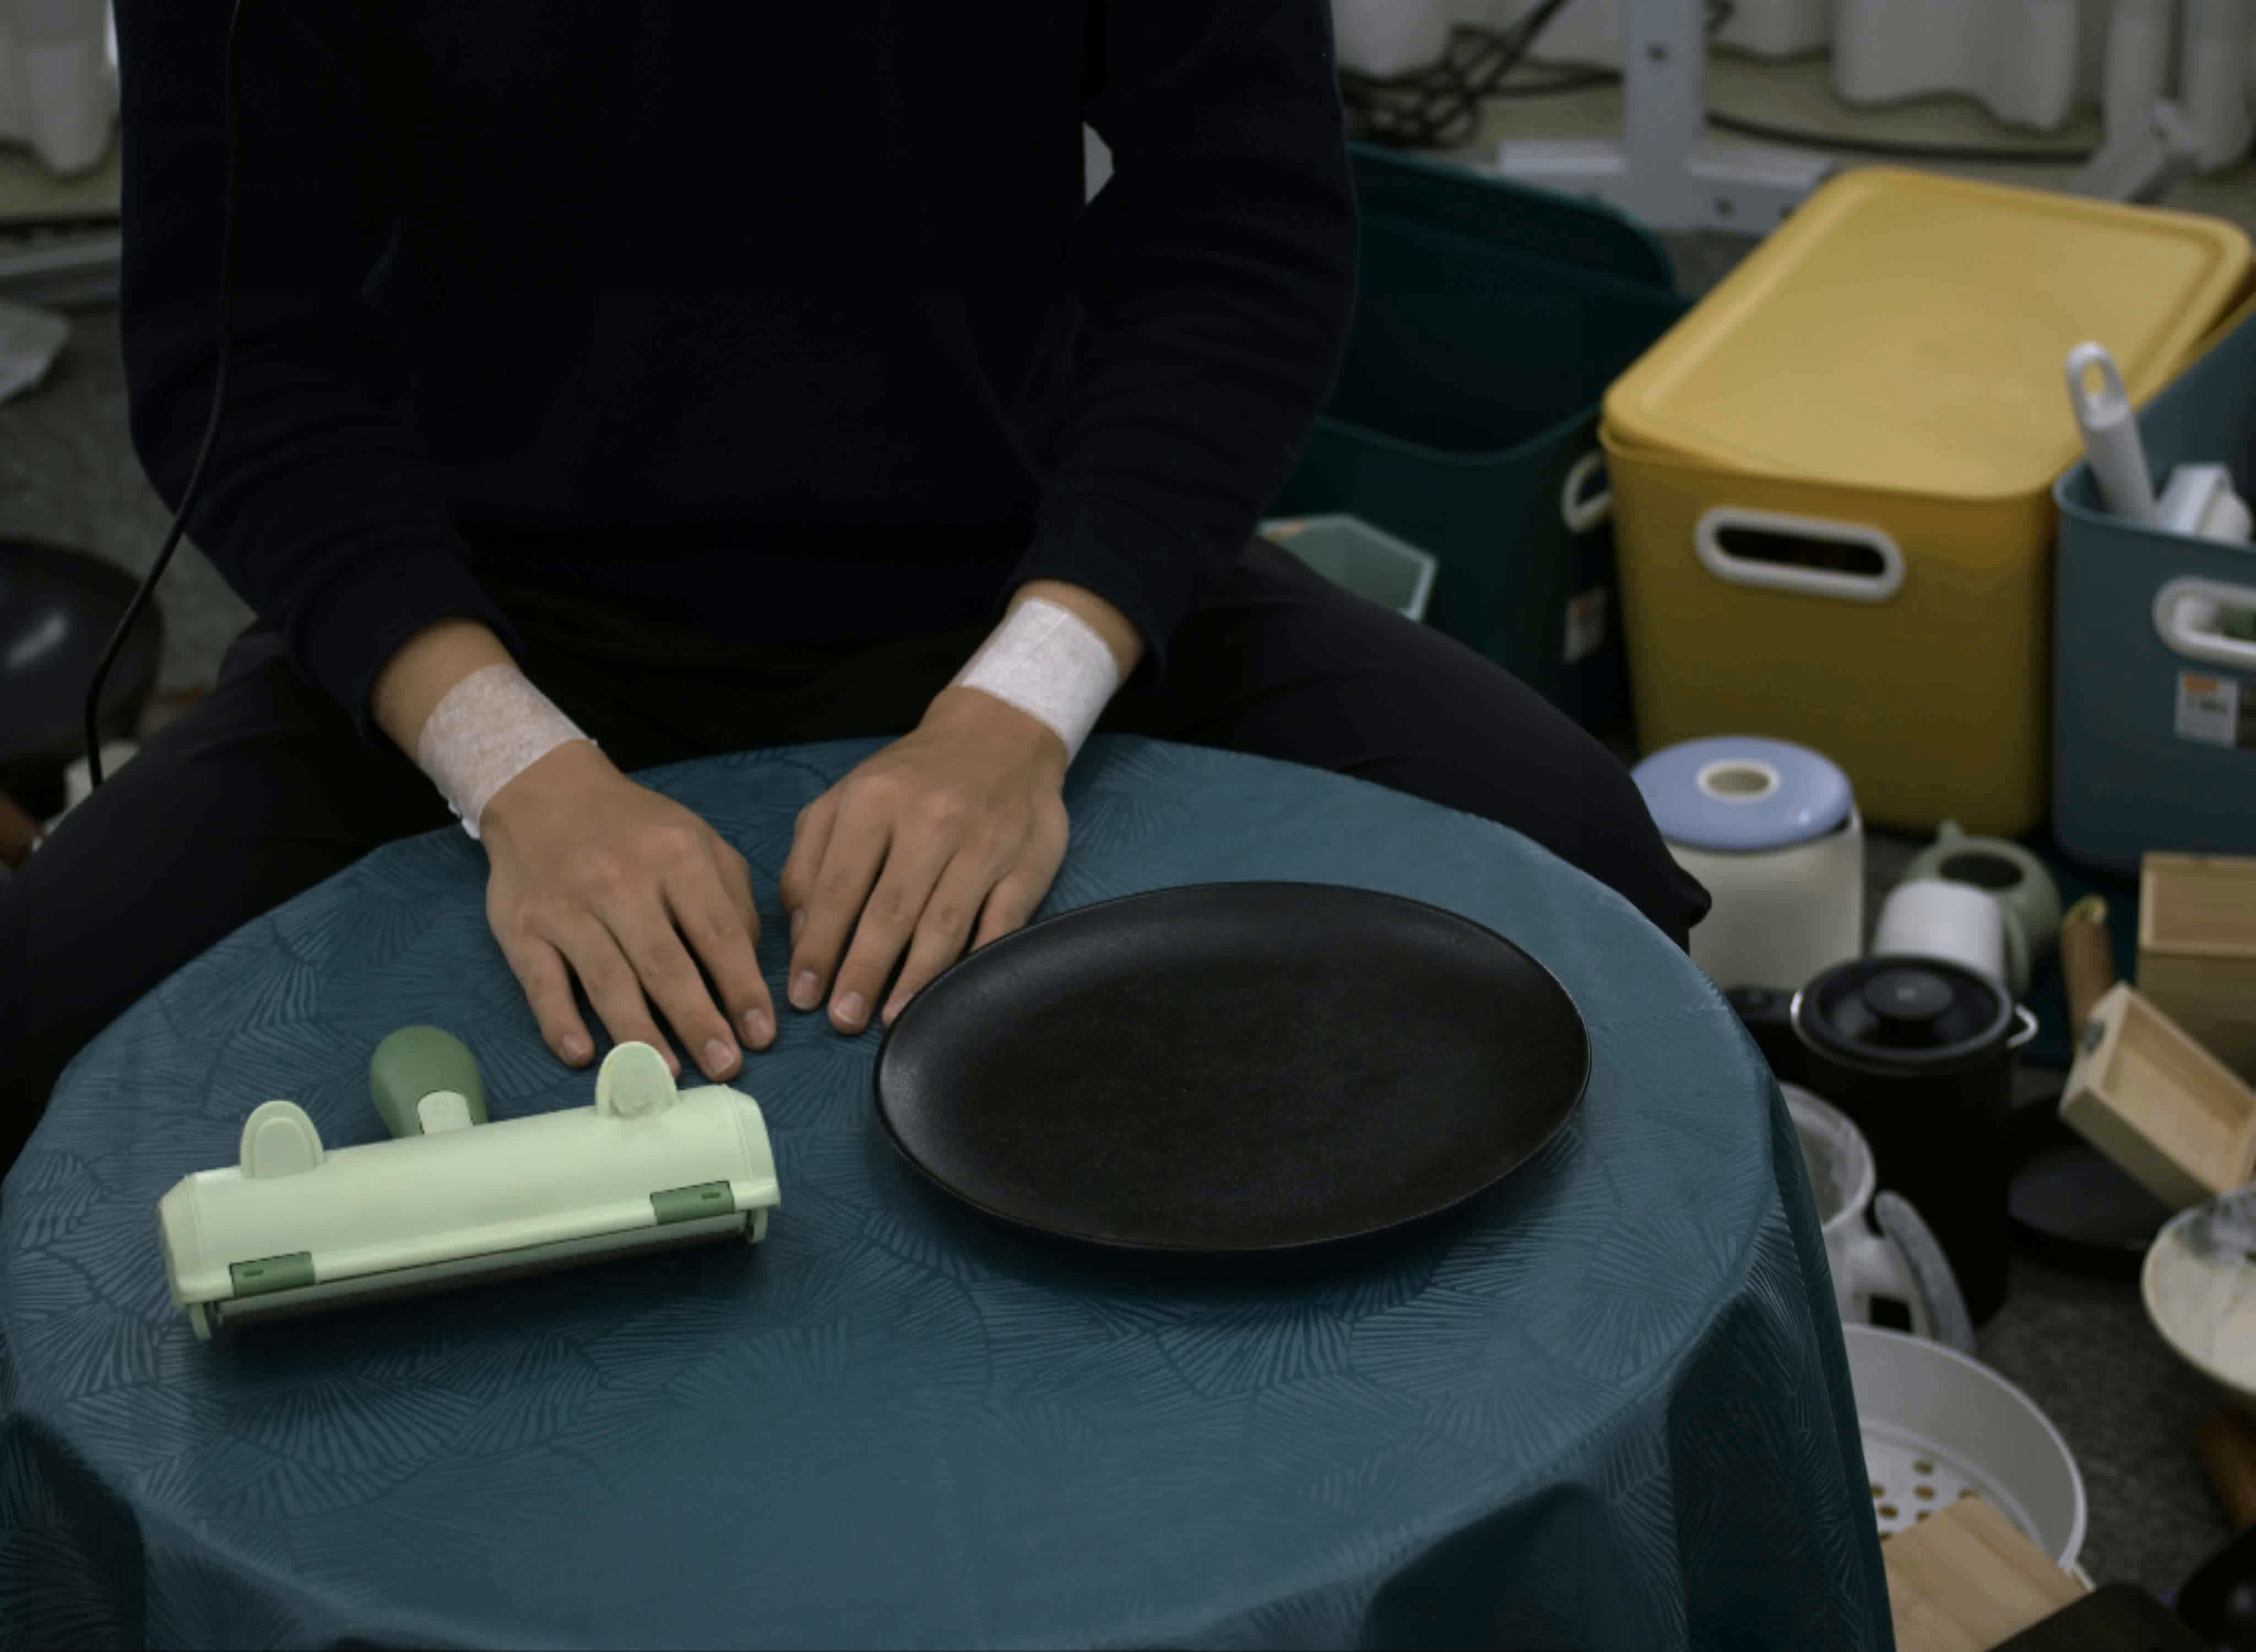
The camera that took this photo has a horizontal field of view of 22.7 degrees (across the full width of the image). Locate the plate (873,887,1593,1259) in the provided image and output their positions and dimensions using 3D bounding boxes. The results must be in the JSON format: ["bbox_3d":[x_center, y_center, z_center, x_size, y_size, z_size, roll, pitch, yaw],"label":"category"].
[{"bbox_3d":[0.035,0.088,1.898,0.243,0.023,0.248,-2,27,2],"label":"plate"}]

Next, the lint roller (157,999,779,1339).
[{"bbox_3d":[-0.228,0.089,1.857,0.198,0.081,0.185,-9,34,-14],"label":"lint roller"}]
